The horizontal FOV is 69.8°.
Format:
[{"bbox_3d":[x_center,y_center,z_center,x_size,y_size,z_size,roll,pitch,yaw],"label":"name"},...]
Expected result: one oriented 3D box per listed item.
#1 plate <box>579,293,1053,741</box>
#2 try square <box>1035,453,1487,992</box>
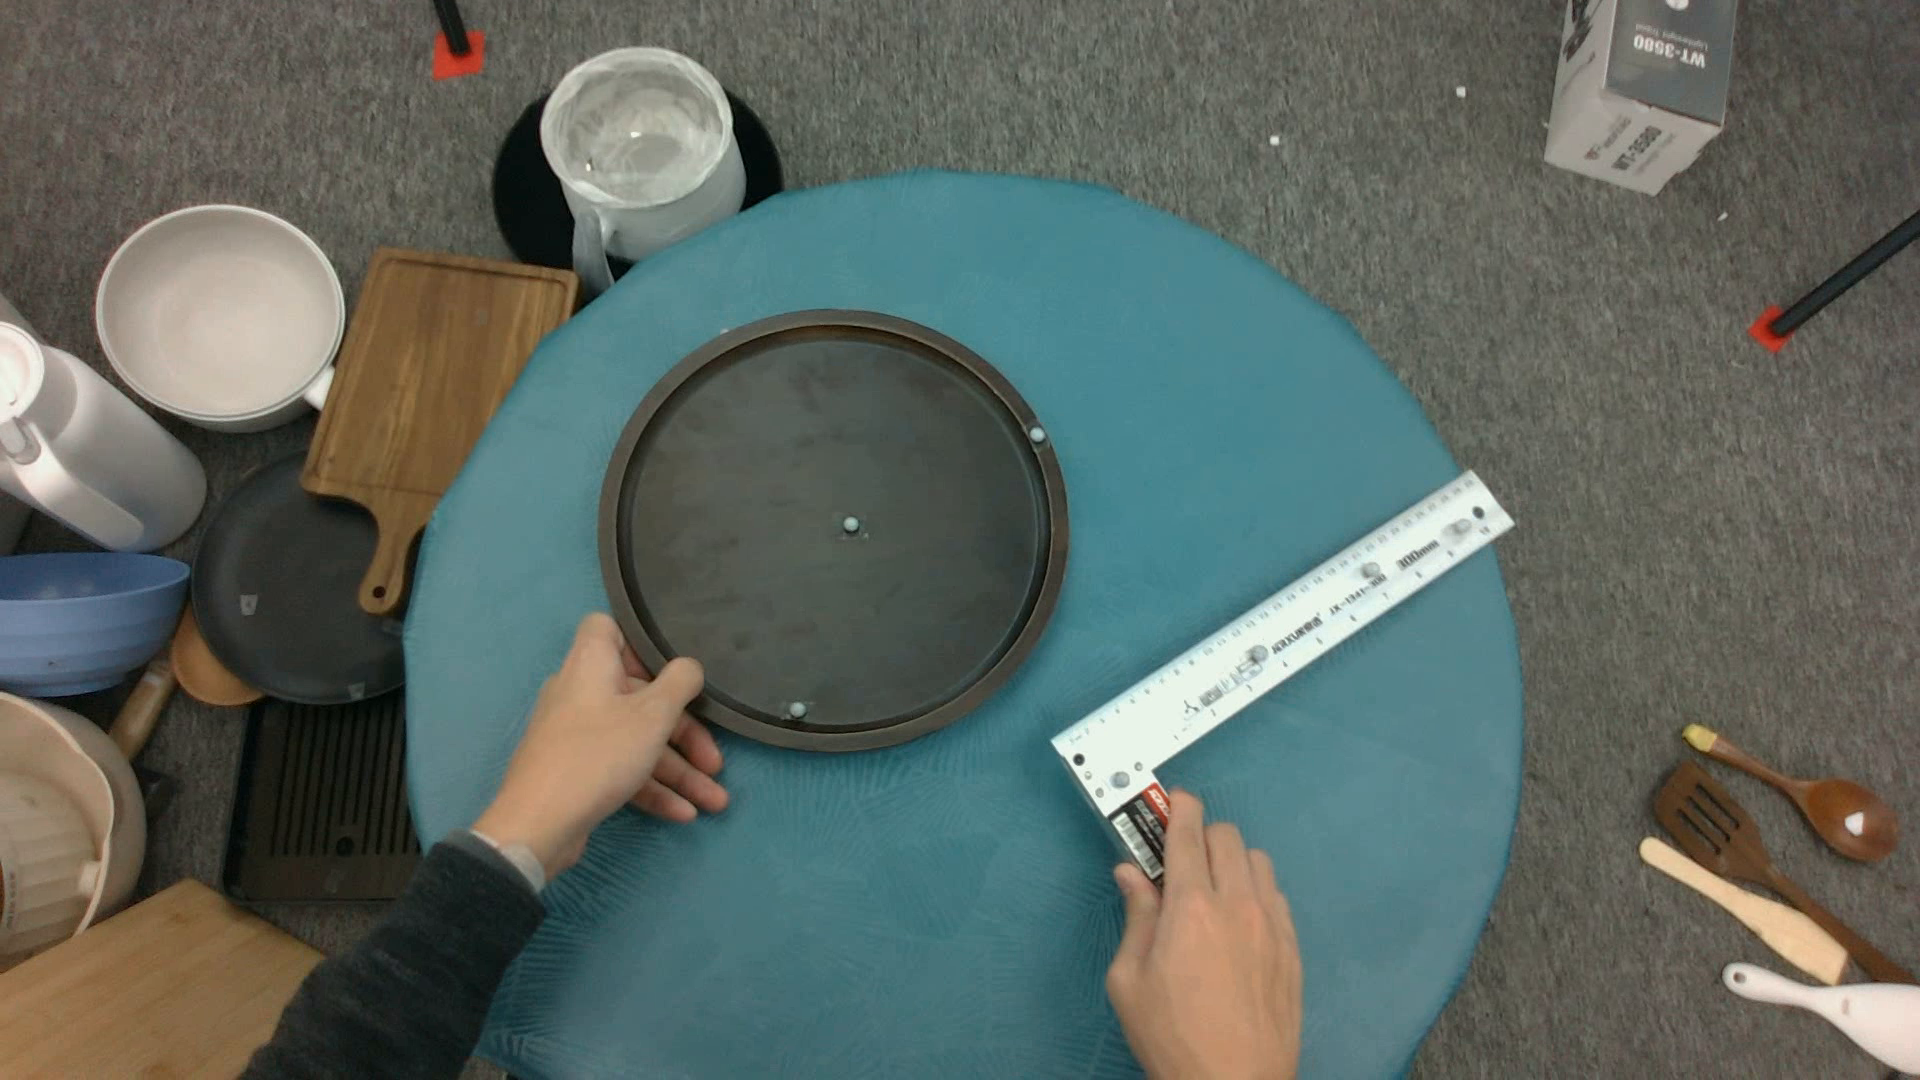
[{"bbox_3d":[-0.076,-0.017,0.744,0.255,0.029,0.255,2,71,-6],"label":"plate"},{"bbox_3d":[0.200,0.083,0.731,0.314,0.016,0.152,-30,80,-23],"label":"try square"}]
